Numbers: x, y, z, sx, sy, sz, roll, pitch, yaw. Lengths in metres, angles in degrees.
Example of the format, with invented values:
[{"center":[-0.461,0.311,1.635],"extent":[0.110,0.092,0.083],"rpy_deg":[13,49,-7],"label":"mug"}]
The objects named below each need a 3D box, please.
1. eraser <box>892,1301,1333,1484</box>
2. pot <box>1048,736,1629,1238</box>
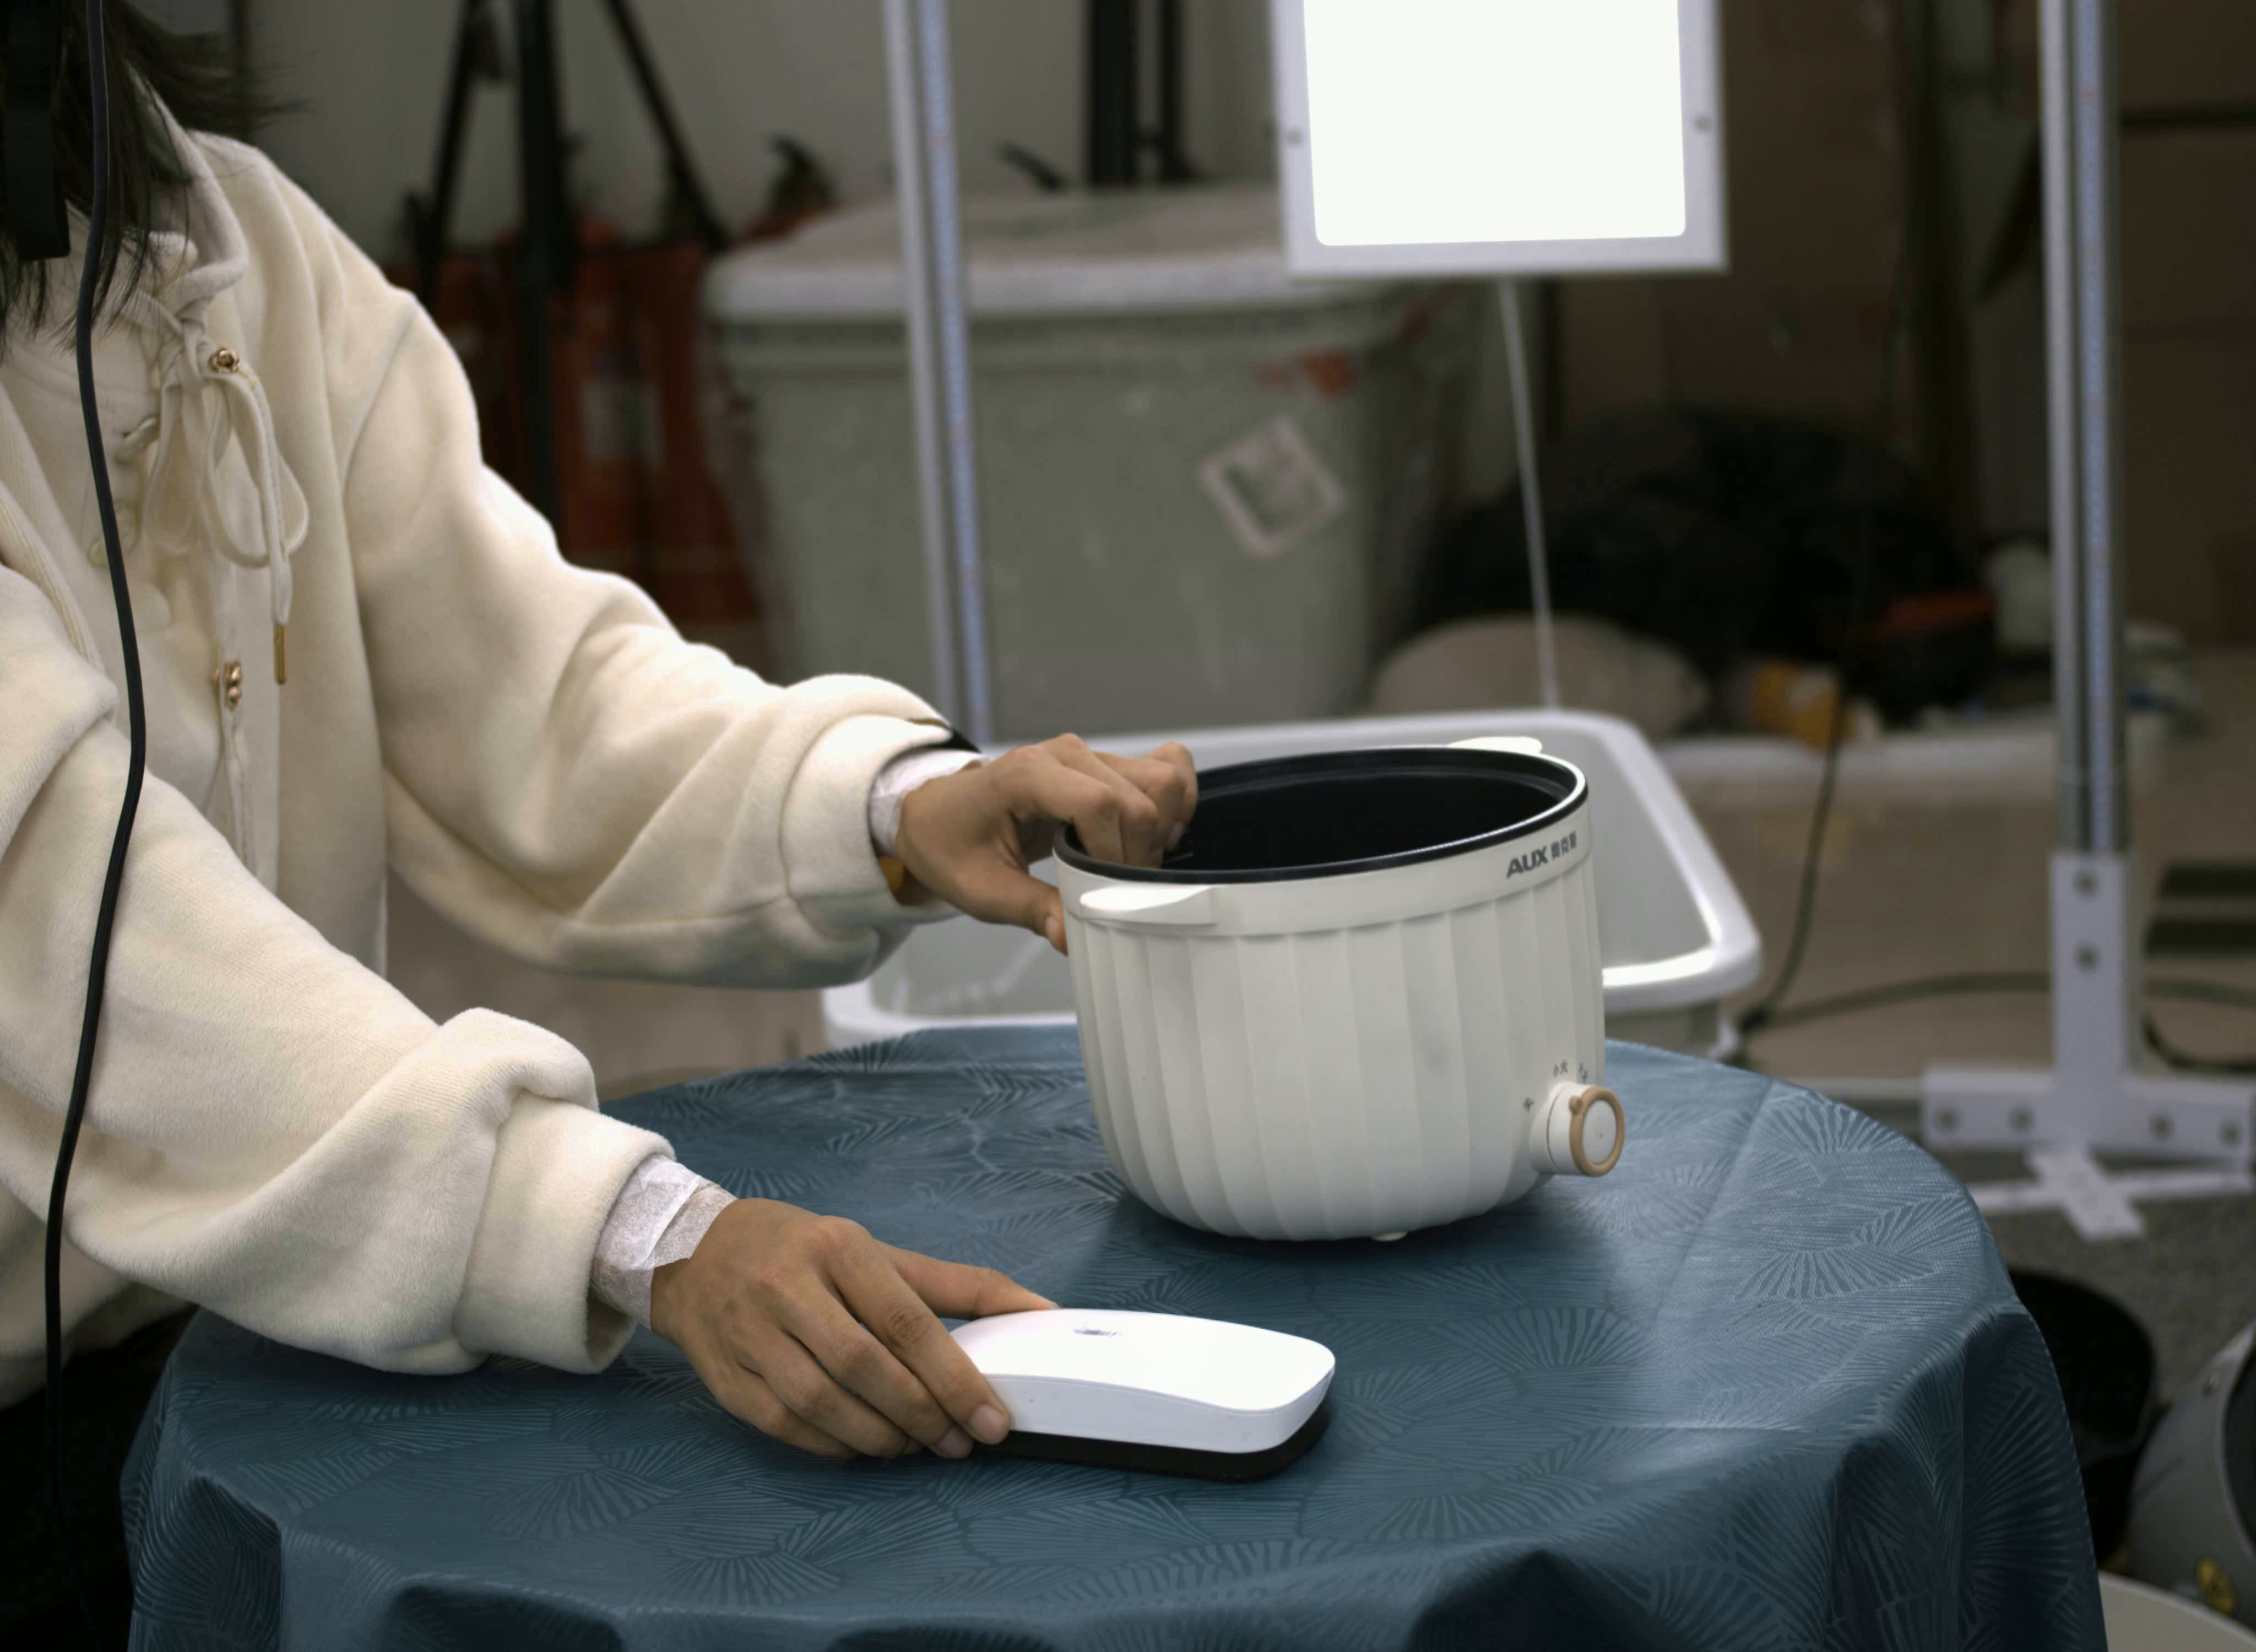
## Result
[{"center":[-0.004,0.170,1.660],"extent":[0.134,0.034,0.062],"rpy_deg":[3,14,29],"label":"eraser"},{"center":[0.076,0.057,1.851],"extent":[0.195,0.143,0.234],"rpy_deg":[-2,14,39],"label":"pot"}]
